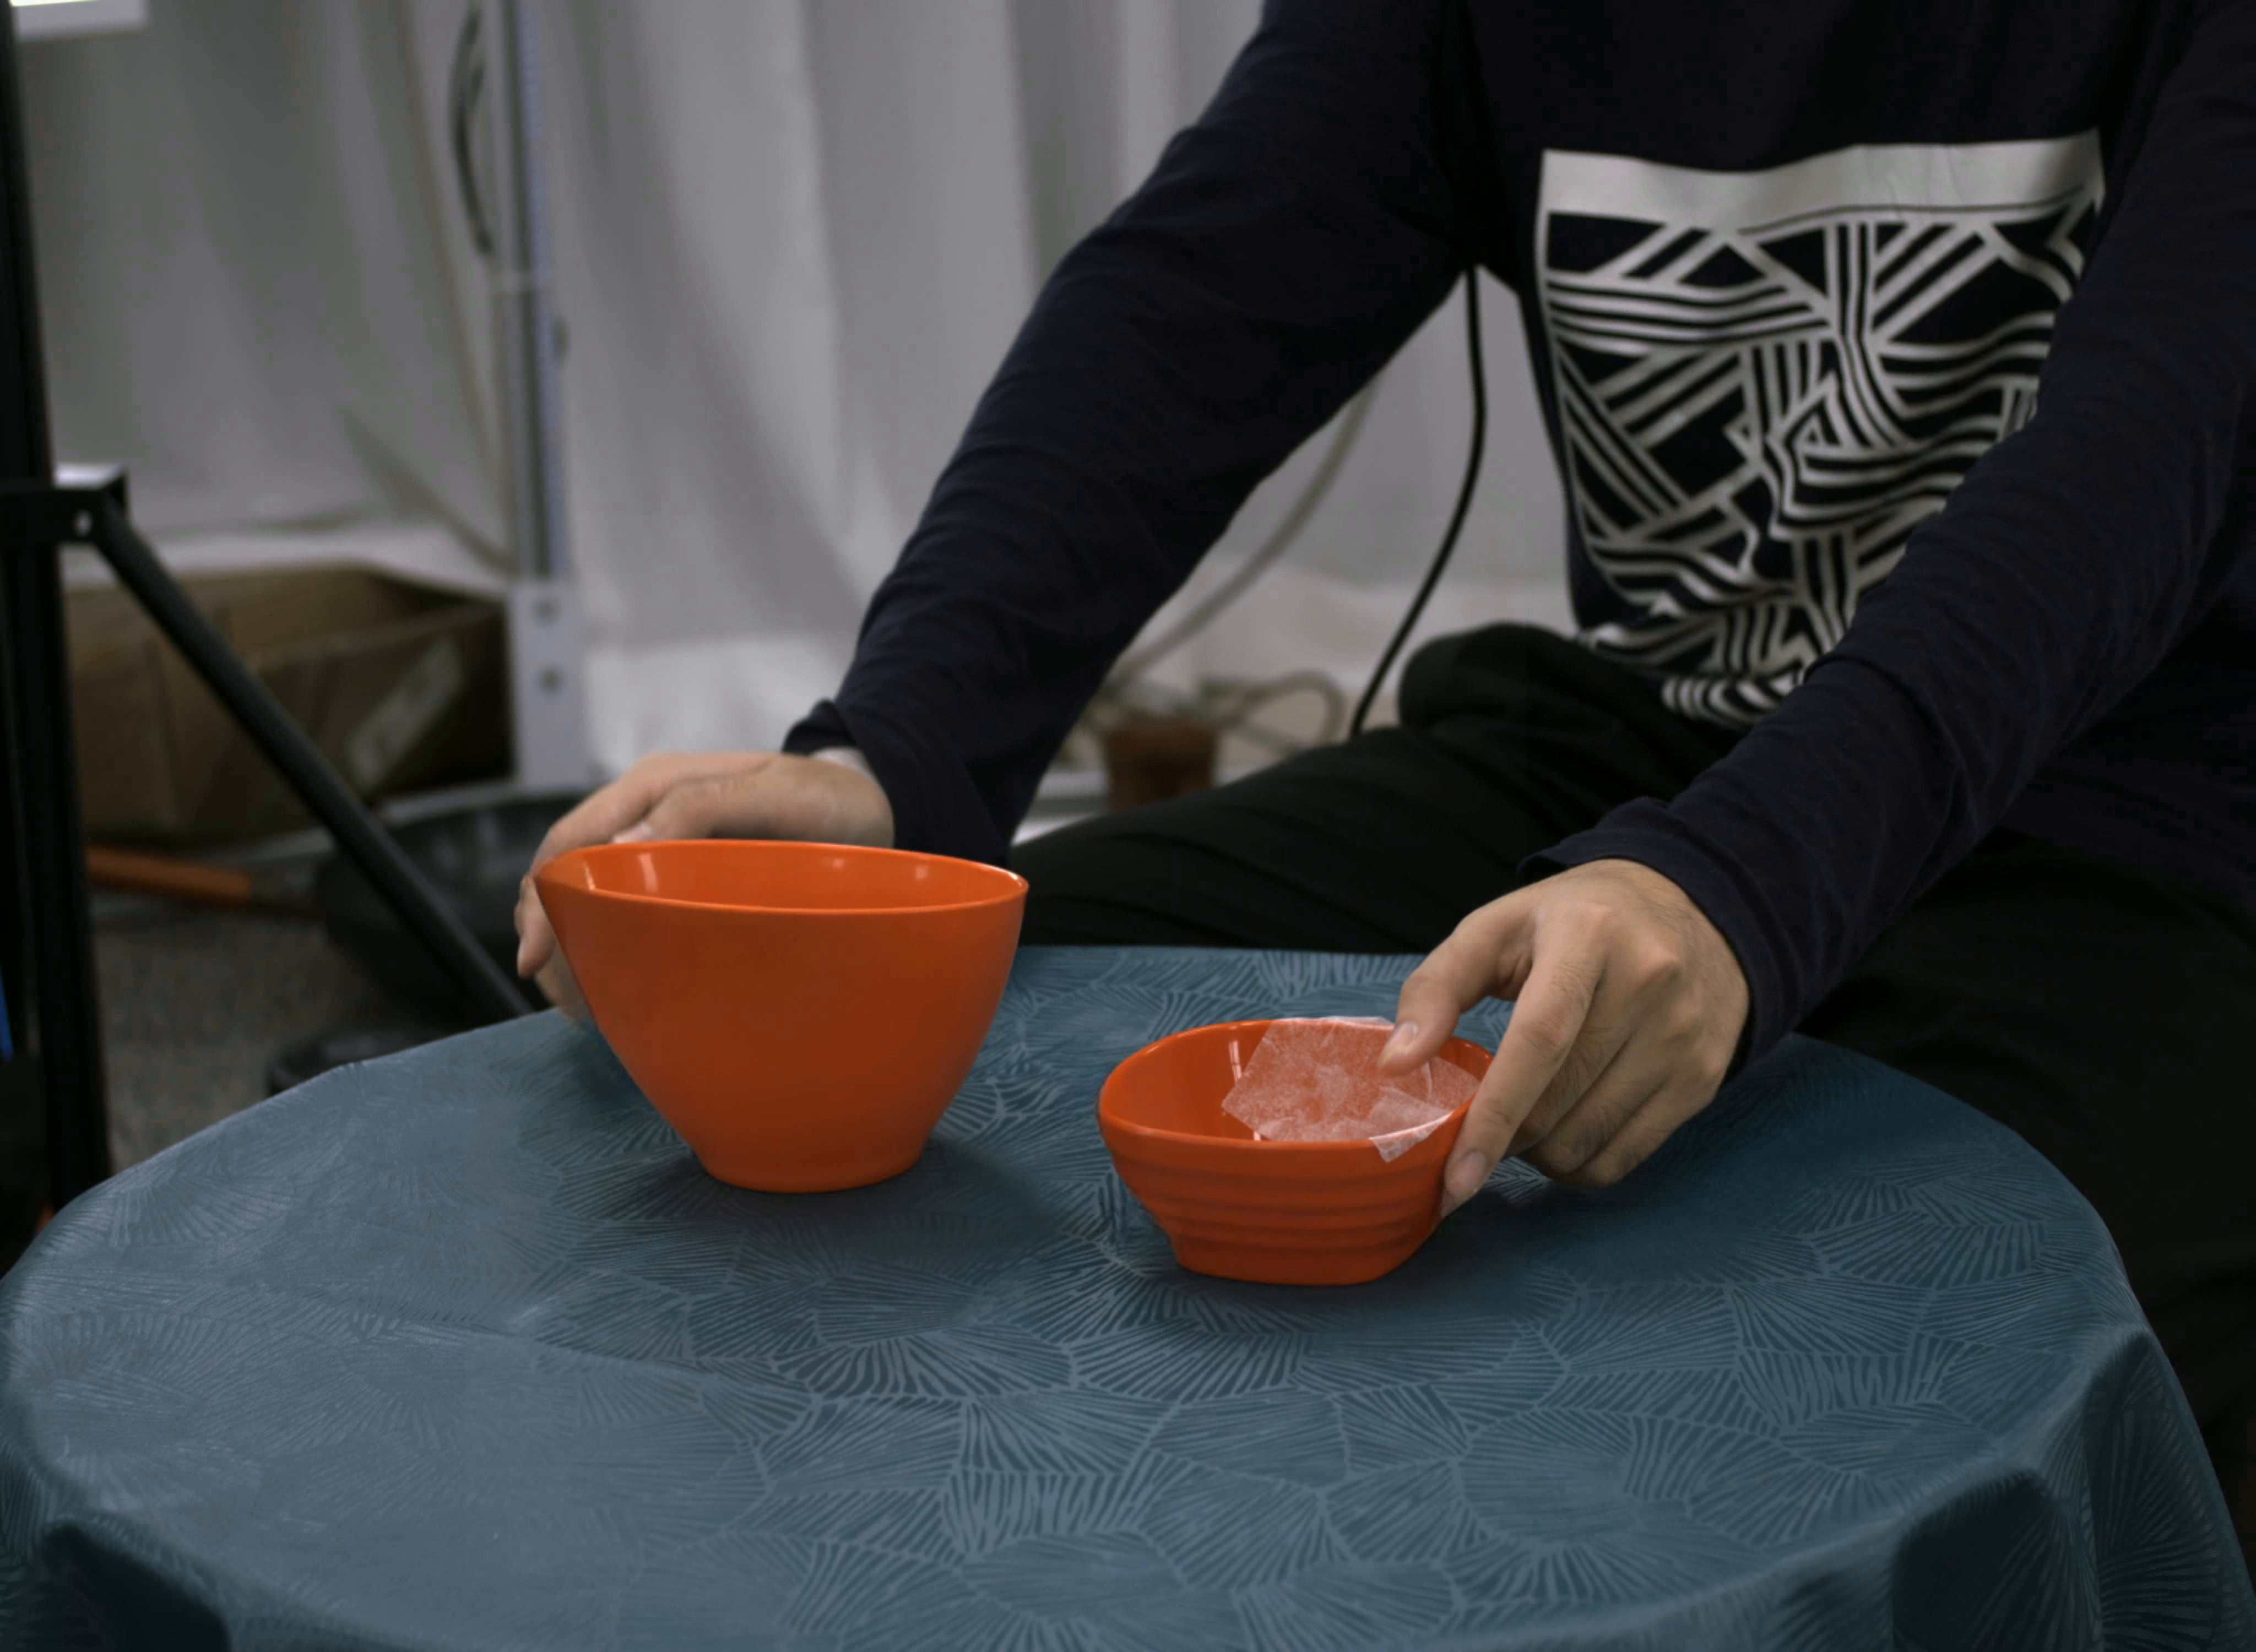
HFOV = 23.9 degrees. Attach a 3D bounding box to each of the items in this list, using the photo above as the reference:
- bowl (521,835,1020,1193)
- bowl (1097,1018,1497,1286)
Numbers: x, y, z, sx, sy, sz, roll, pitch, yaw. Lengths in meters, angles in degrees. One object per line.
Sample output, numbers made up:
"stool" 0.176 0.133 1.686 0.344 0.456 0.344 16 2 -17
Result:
"bowl" -0.103 0.053 1.586 0.147 0.104 0.149 -3 15 -1
"bowl" 0.050 0.095 1.506 0.118 0.051 0.119 -4 15 0
